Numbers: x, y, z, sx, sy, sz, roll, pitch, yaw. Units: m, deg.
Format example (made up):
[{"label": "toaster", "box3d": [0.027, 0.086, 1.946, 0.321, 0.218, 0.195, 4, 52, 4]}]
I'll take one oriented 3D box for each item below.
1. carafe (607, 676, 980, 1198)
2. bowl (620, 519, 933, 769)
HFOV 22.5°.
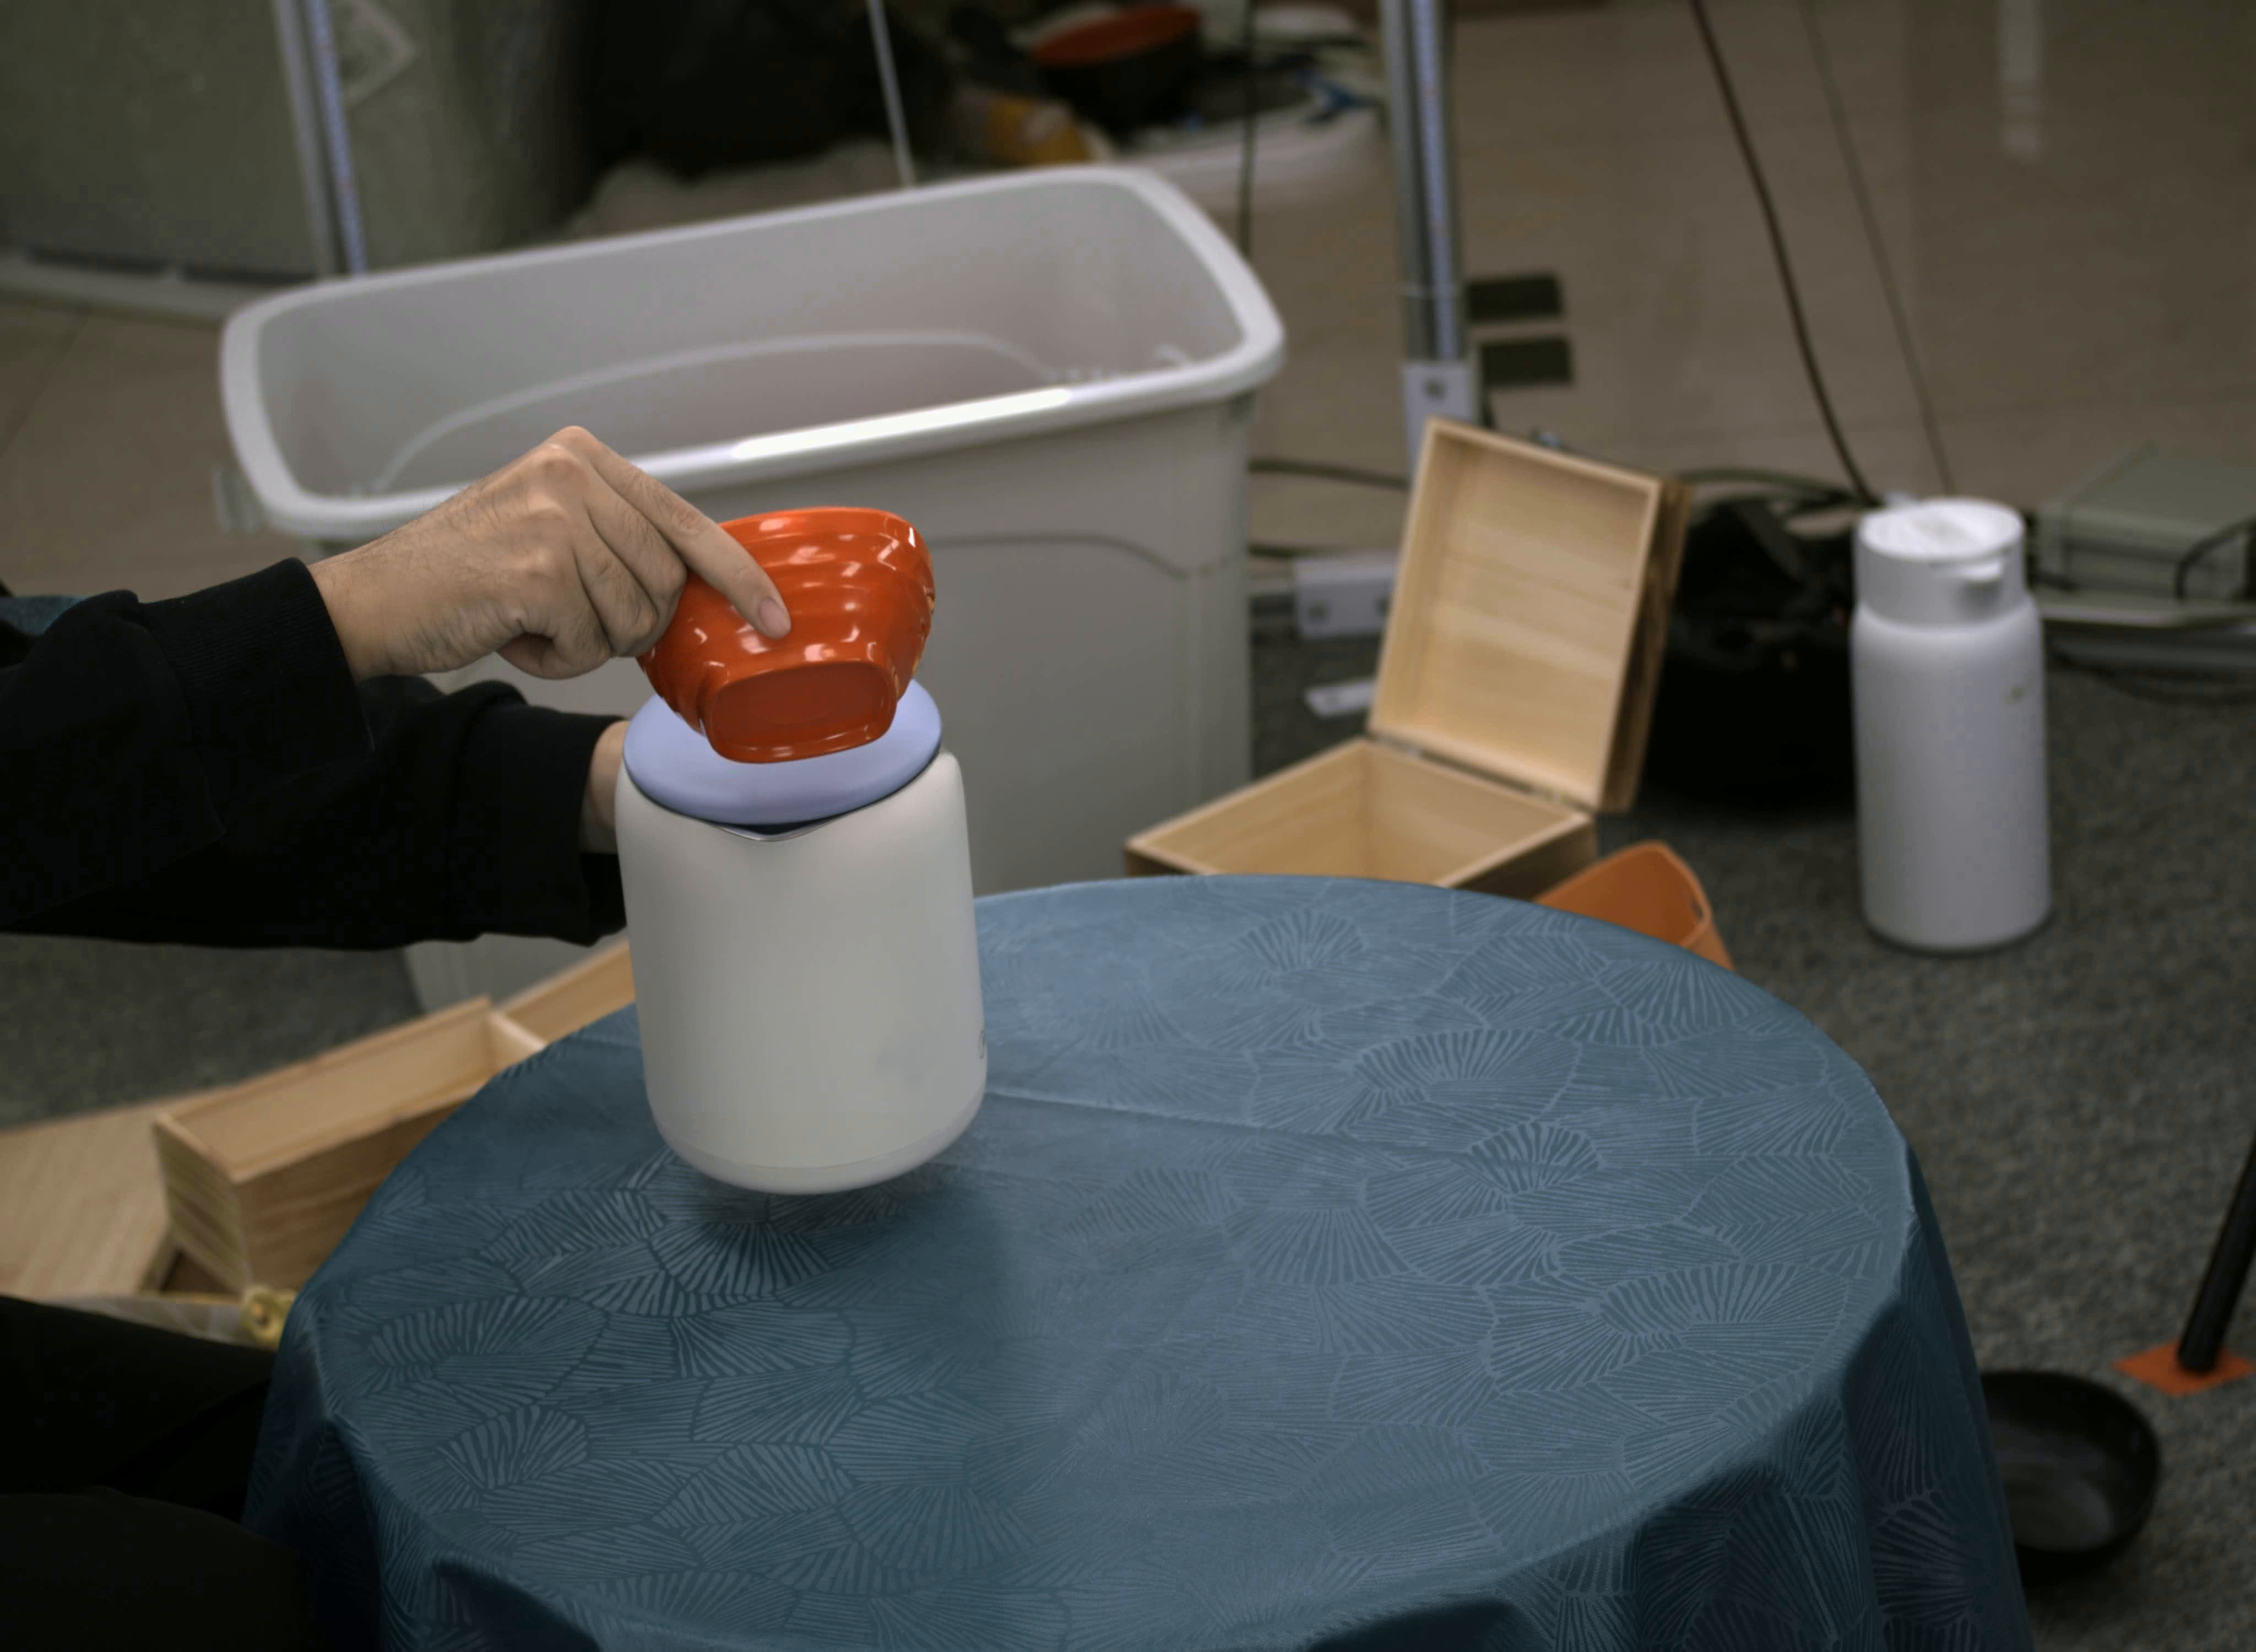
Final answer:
[{"label": "carafe", "box3d": [-0.126, 0.024, 2.150, 0.132, 0.186, 0.188, -3, 30, 0]}, {"label": "bowl", "box3d": [-0.119, -0.058, 1.968, 0.118, 0.120, 0.051, -8, 67, -3]}]
